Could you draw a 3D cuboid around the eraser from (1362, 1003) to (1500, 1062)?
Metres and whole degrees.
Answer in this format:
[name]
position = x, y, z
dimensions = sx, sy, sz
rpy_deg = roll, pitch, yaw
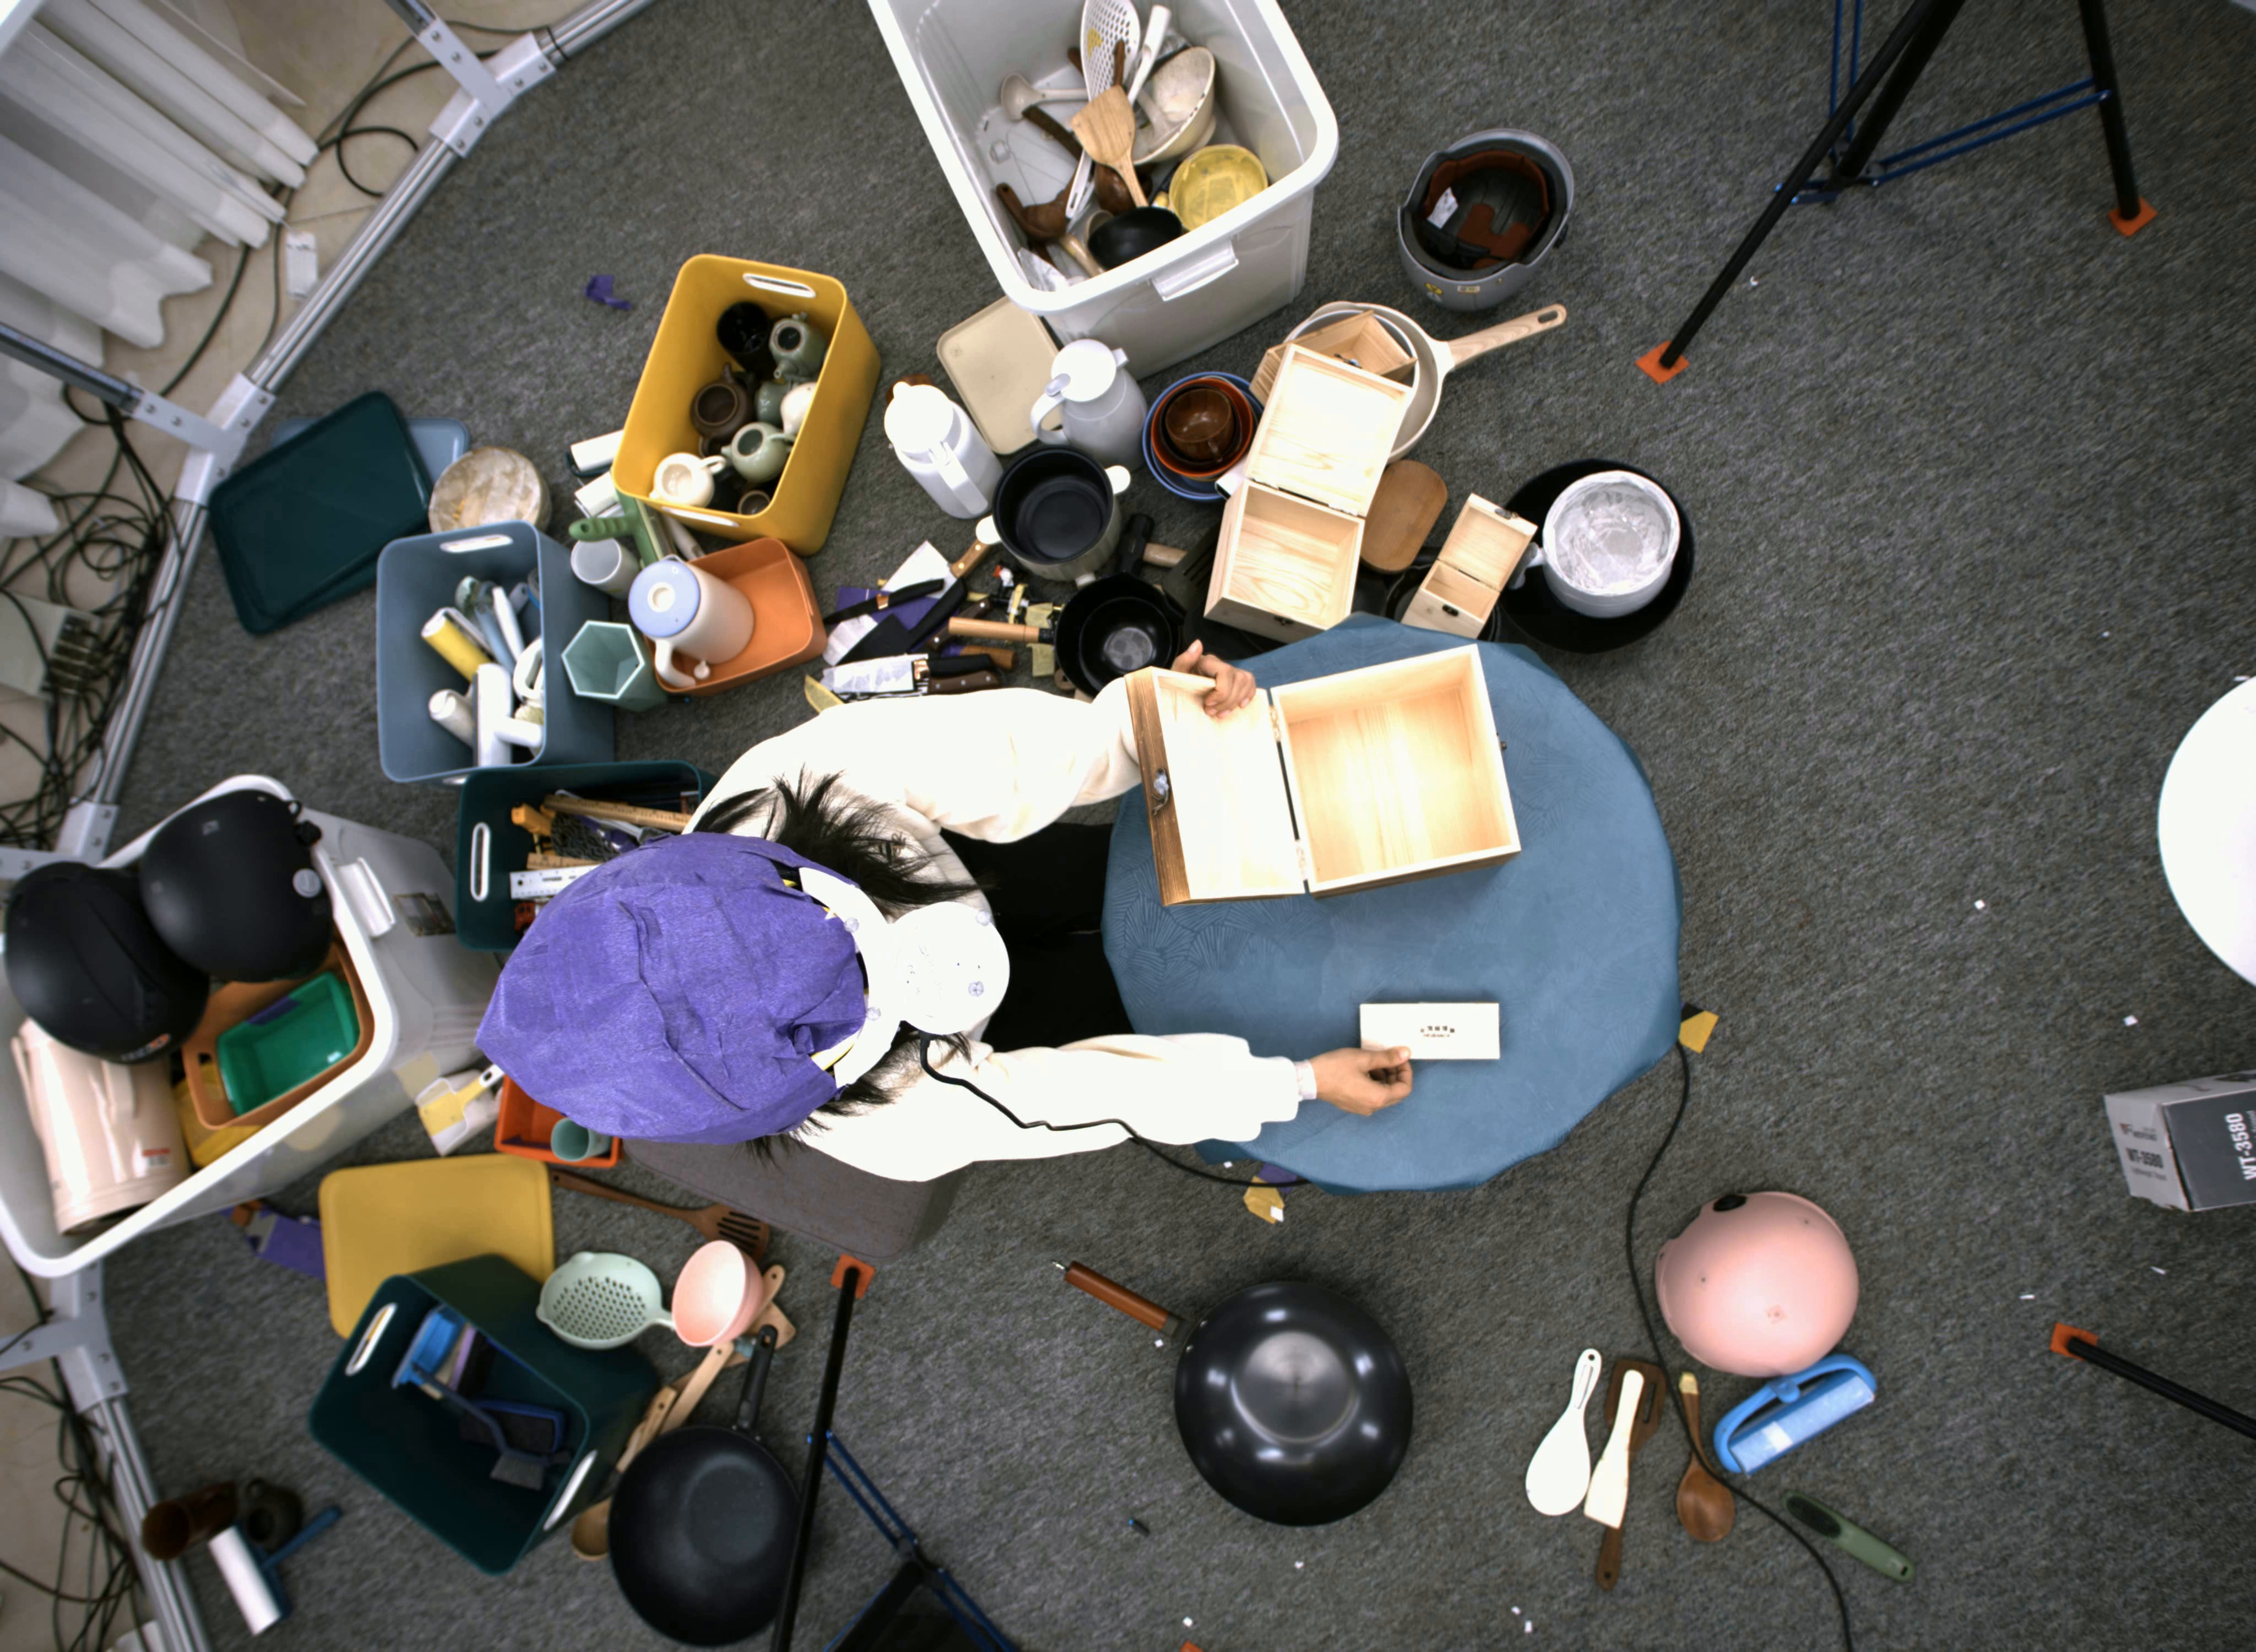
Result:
[eraser]
position = 0.313, 0.211, 1.429
dimensions = 0.140, 0.029, 0.057
rpy_deg = 0, 90, 11

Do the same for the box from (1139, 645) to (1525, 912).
[box]
position = 0.200, -0.045, 1.295
dimensions = 0.324, 0.375, 0.207
rpy_deg = -12, 84, 9
